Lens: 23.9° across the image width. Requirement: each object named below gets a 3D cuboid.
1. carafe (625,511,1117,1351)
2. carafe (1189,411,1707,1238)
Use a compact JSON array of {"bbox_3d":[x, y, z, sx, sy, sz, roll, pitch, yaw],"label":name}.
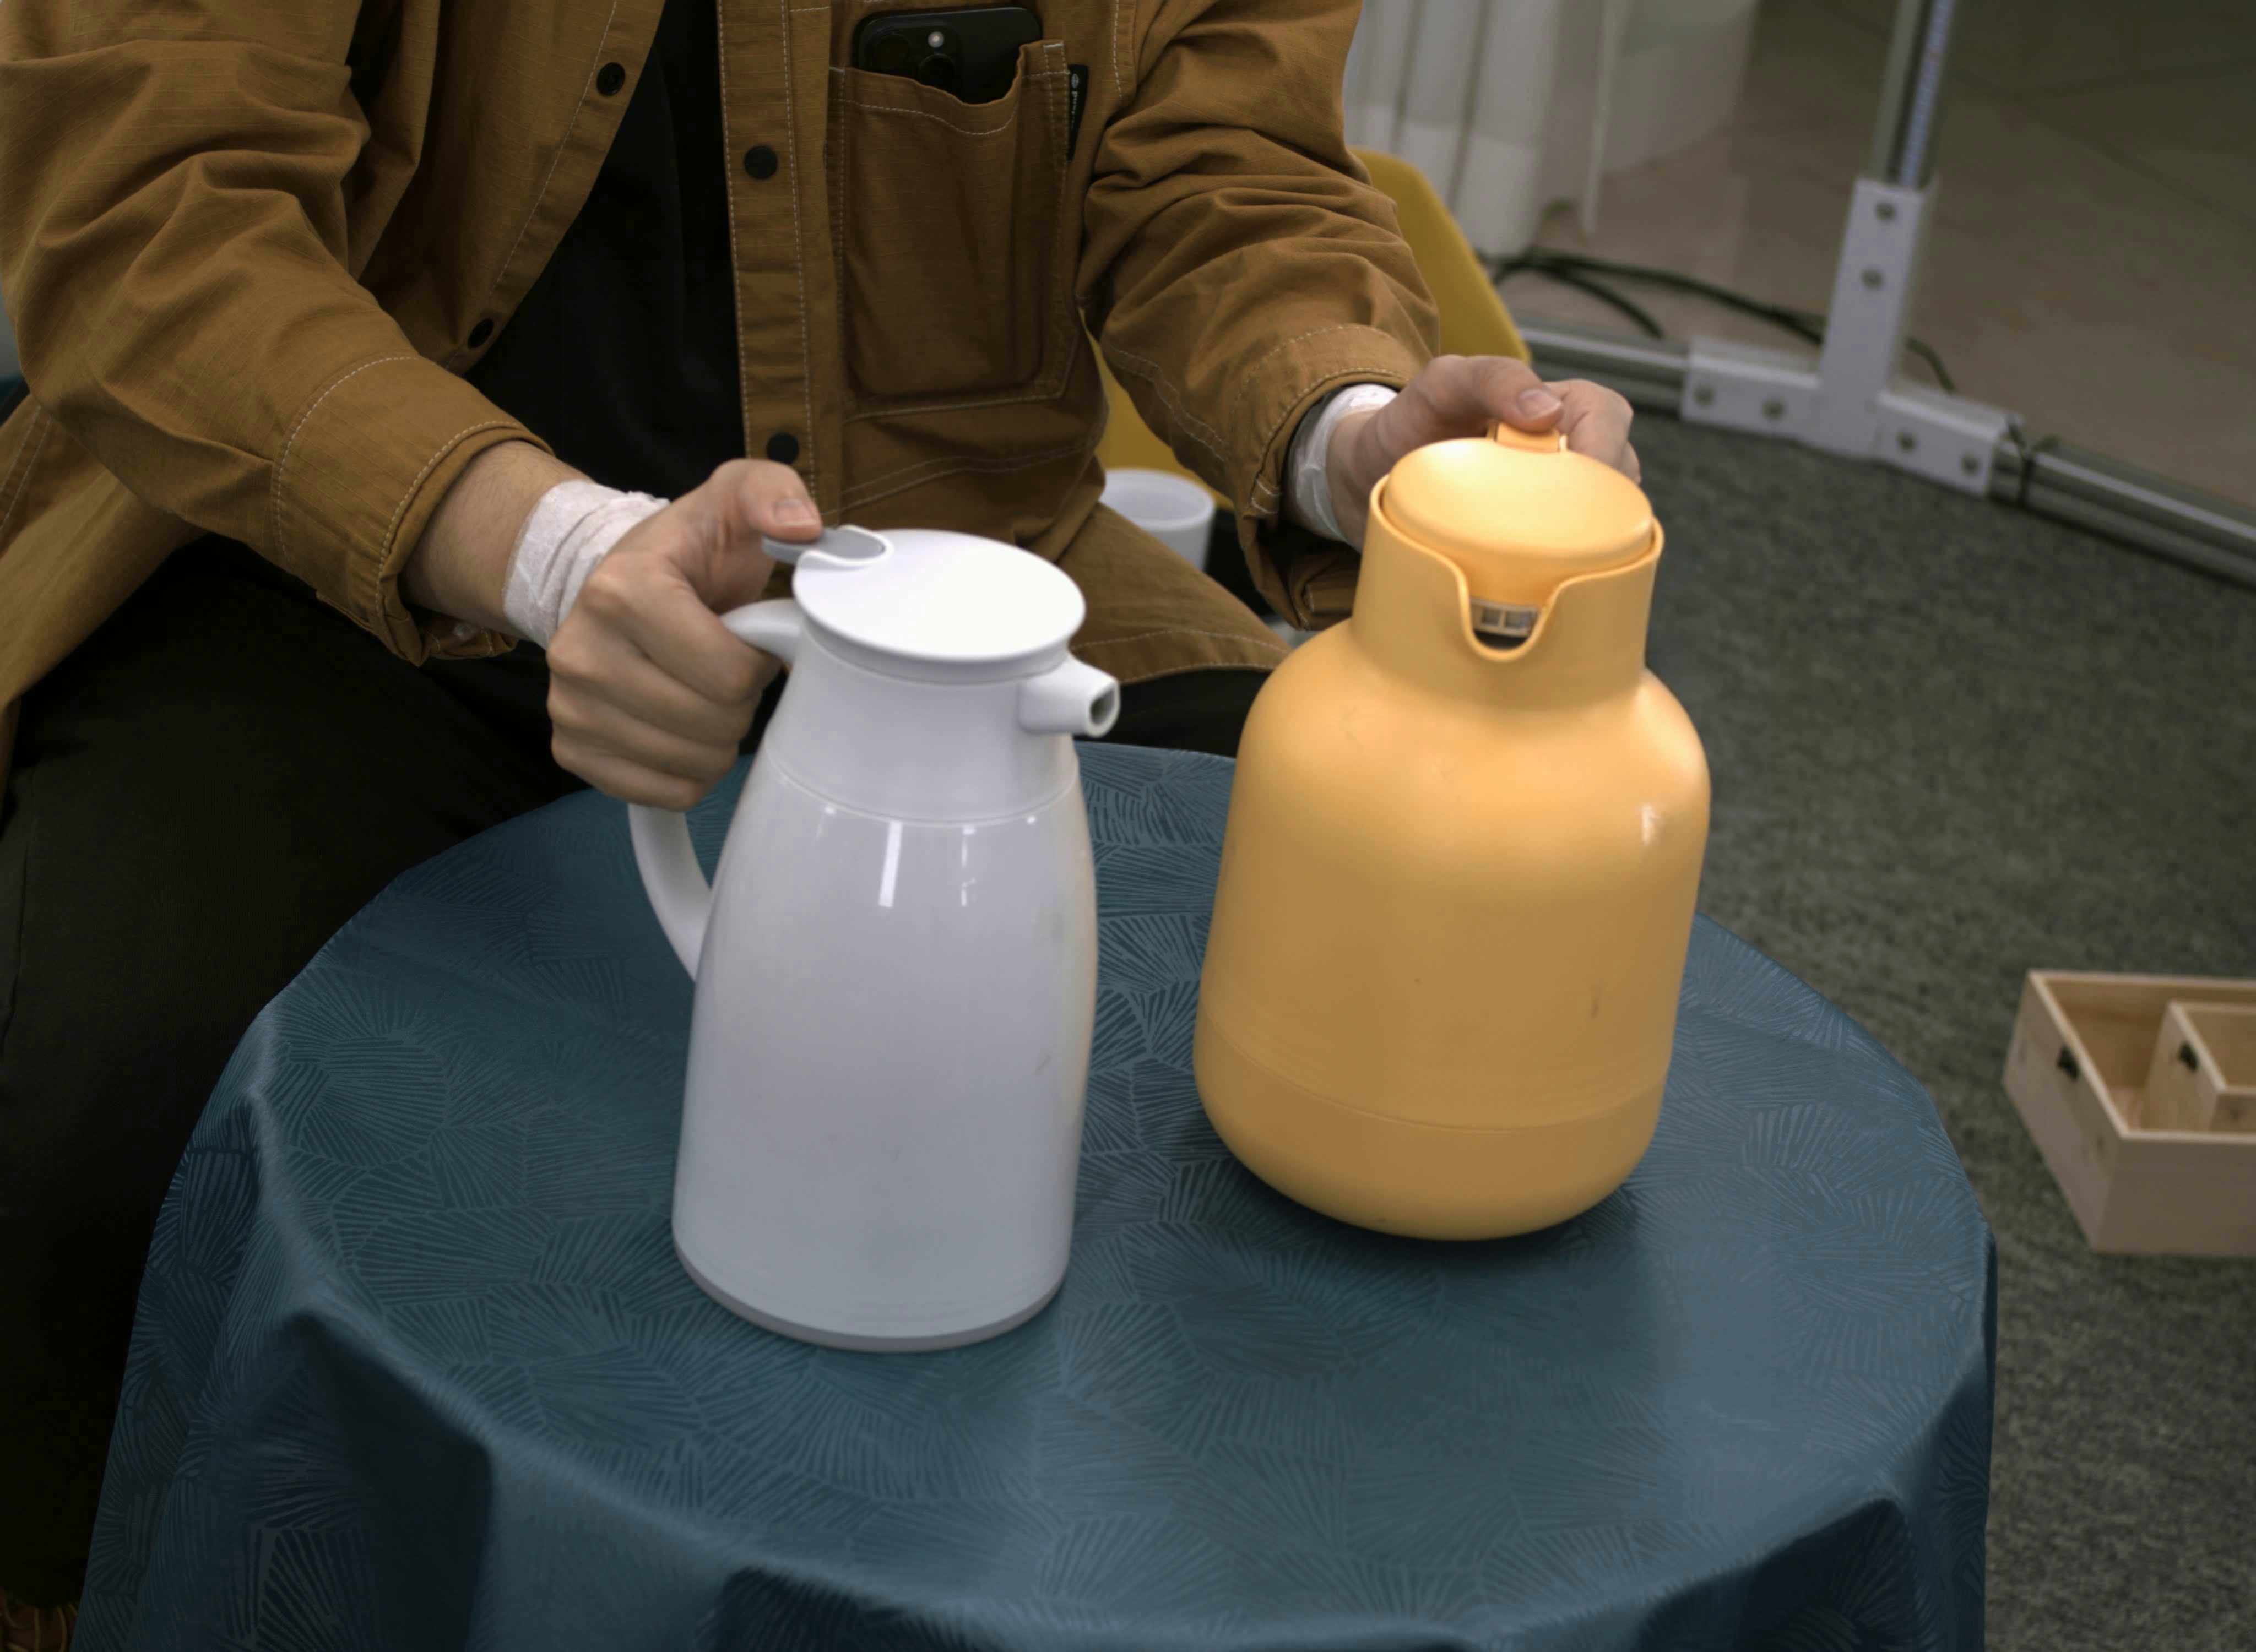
[{"bbox_3d":[-0.089,0.023,1.708,0.168,0.248,0.132,19,29,23],"label":"carafe"},{"bbox_3d":[0.117,-0.010,1.806,0.163,0.259,0.203,11,28,4],"label":"carafe"}]
